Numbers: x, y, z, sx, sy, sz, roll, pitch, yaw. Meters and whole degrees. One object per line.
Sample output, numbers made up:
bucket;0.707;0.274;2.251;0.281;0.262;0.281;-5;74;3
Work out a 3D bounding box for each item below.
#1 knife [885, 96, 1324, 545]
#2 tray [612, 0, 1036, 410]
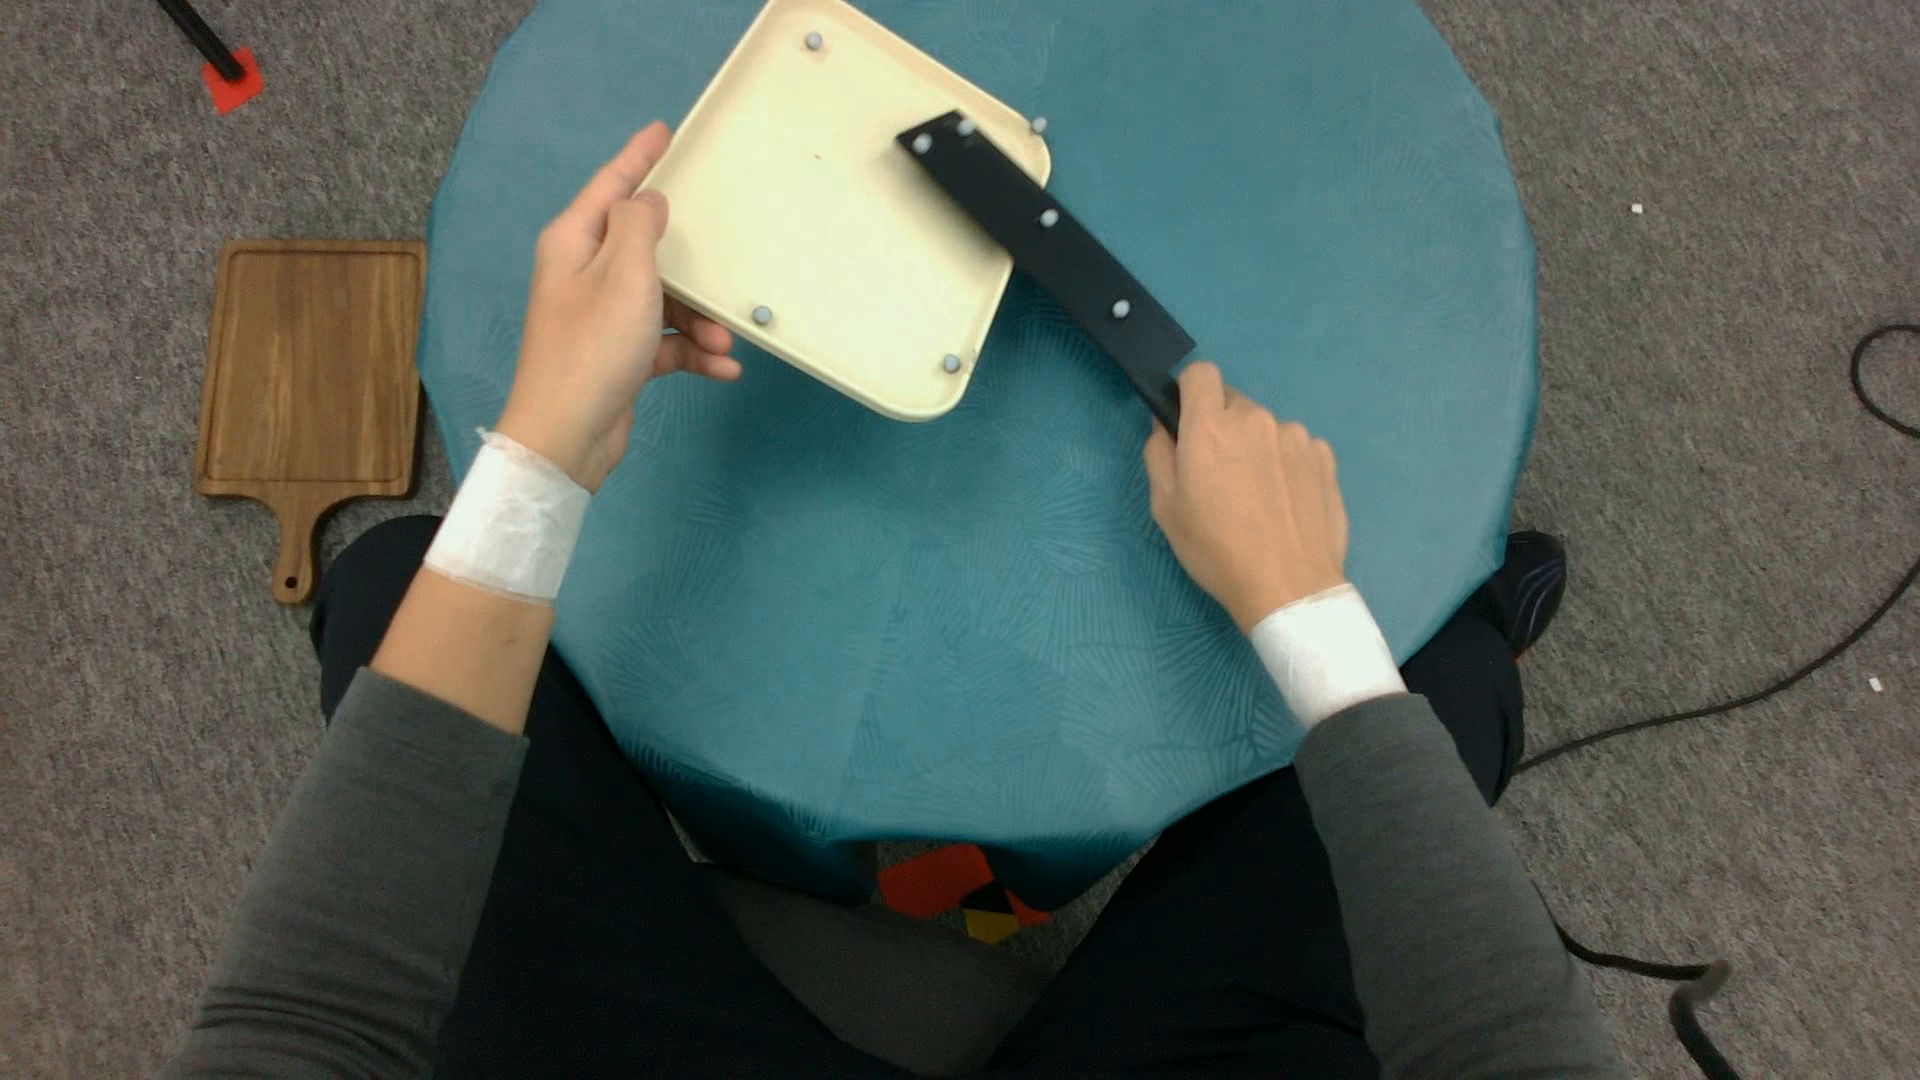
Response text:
knife;0.078;-0.115;0.704;0.302;0.021;0.081;50;45;6
tray;-0.057;-0.174;0.677;0.171;0.017;0.241;28;50;-12
